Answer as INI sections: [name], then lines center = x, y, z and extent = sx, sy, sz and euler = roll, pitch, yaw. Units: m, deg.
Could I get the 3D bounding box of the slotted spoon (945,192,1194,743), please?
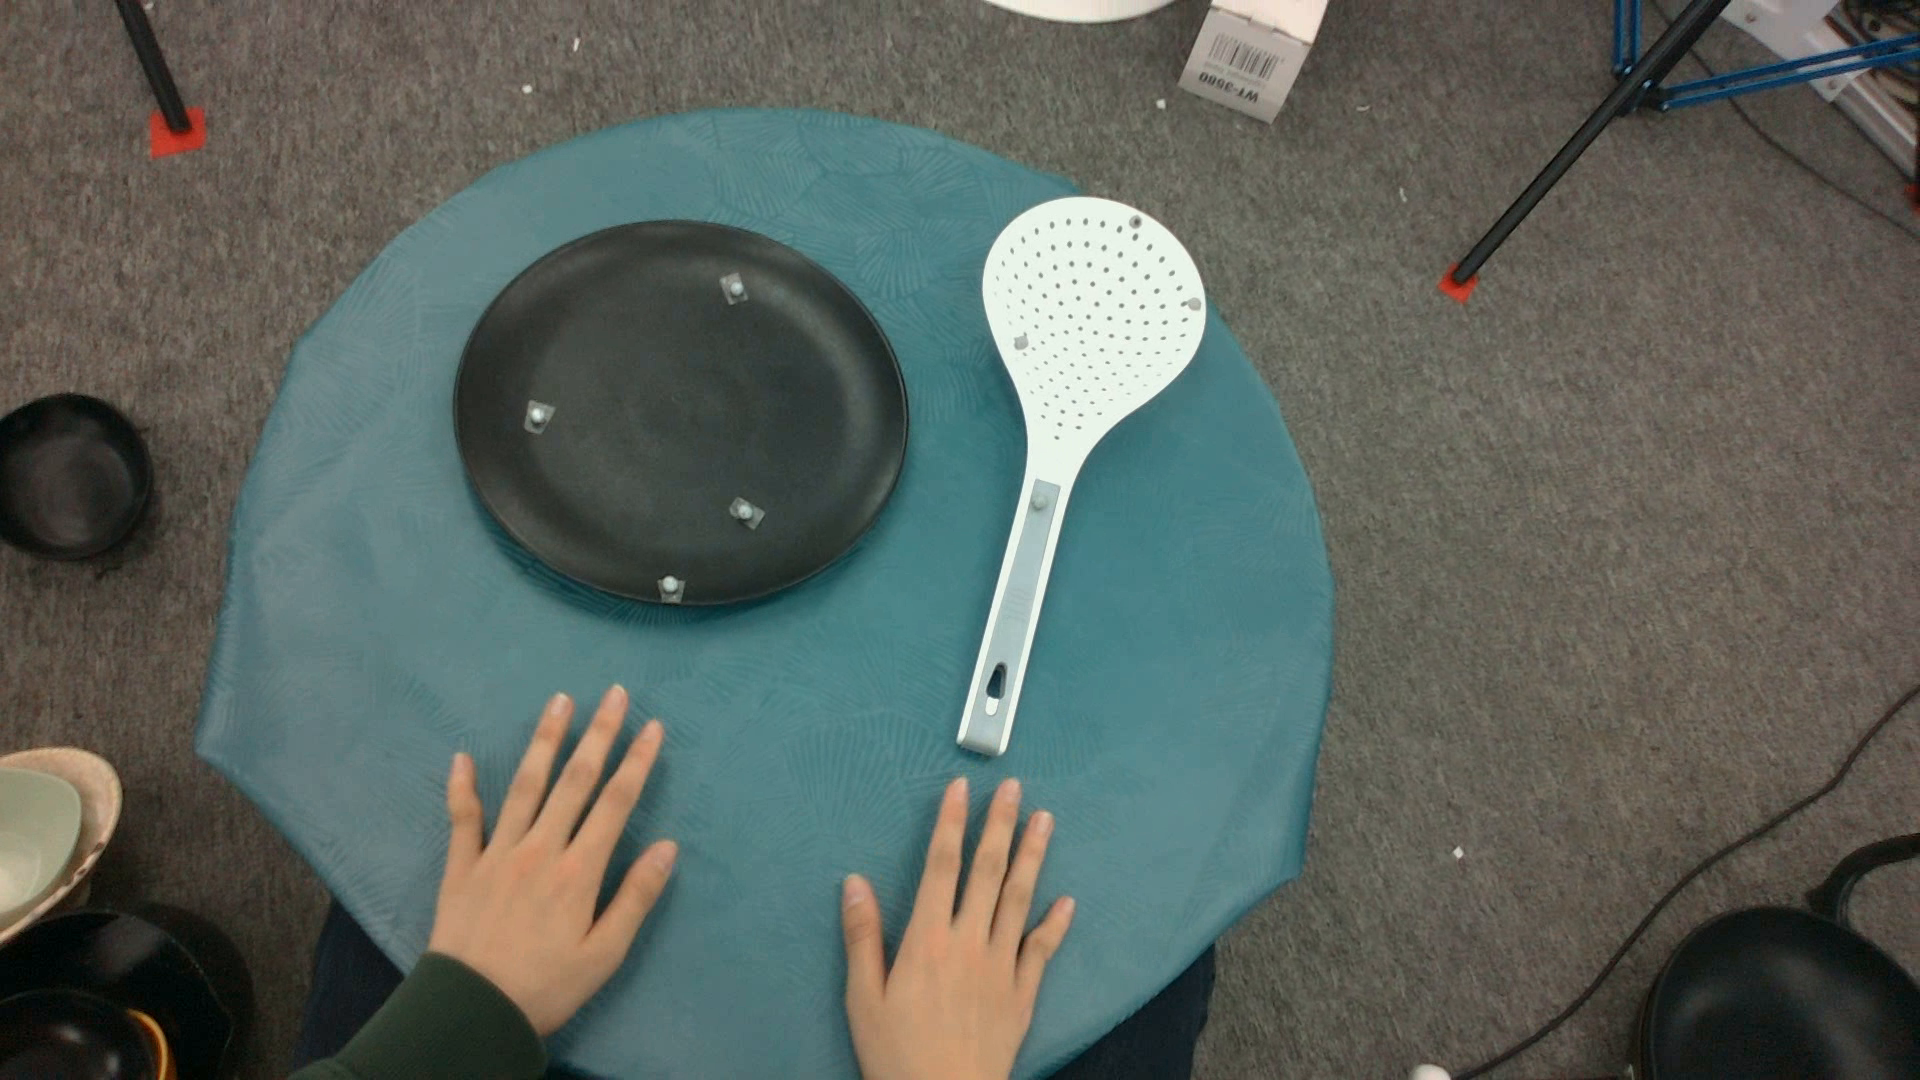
[slotted spoon]
center = 0.047, -0.052, 0.787
extent = 0.136, 0.045, 0.351
euler = 16, 62, -3

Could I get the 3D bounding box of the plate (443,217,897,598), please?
[plate]
center = -0.156, -0.076, 0.764
extent = 0.244, 0.023, 0.245
euler = 5, 63, -11
